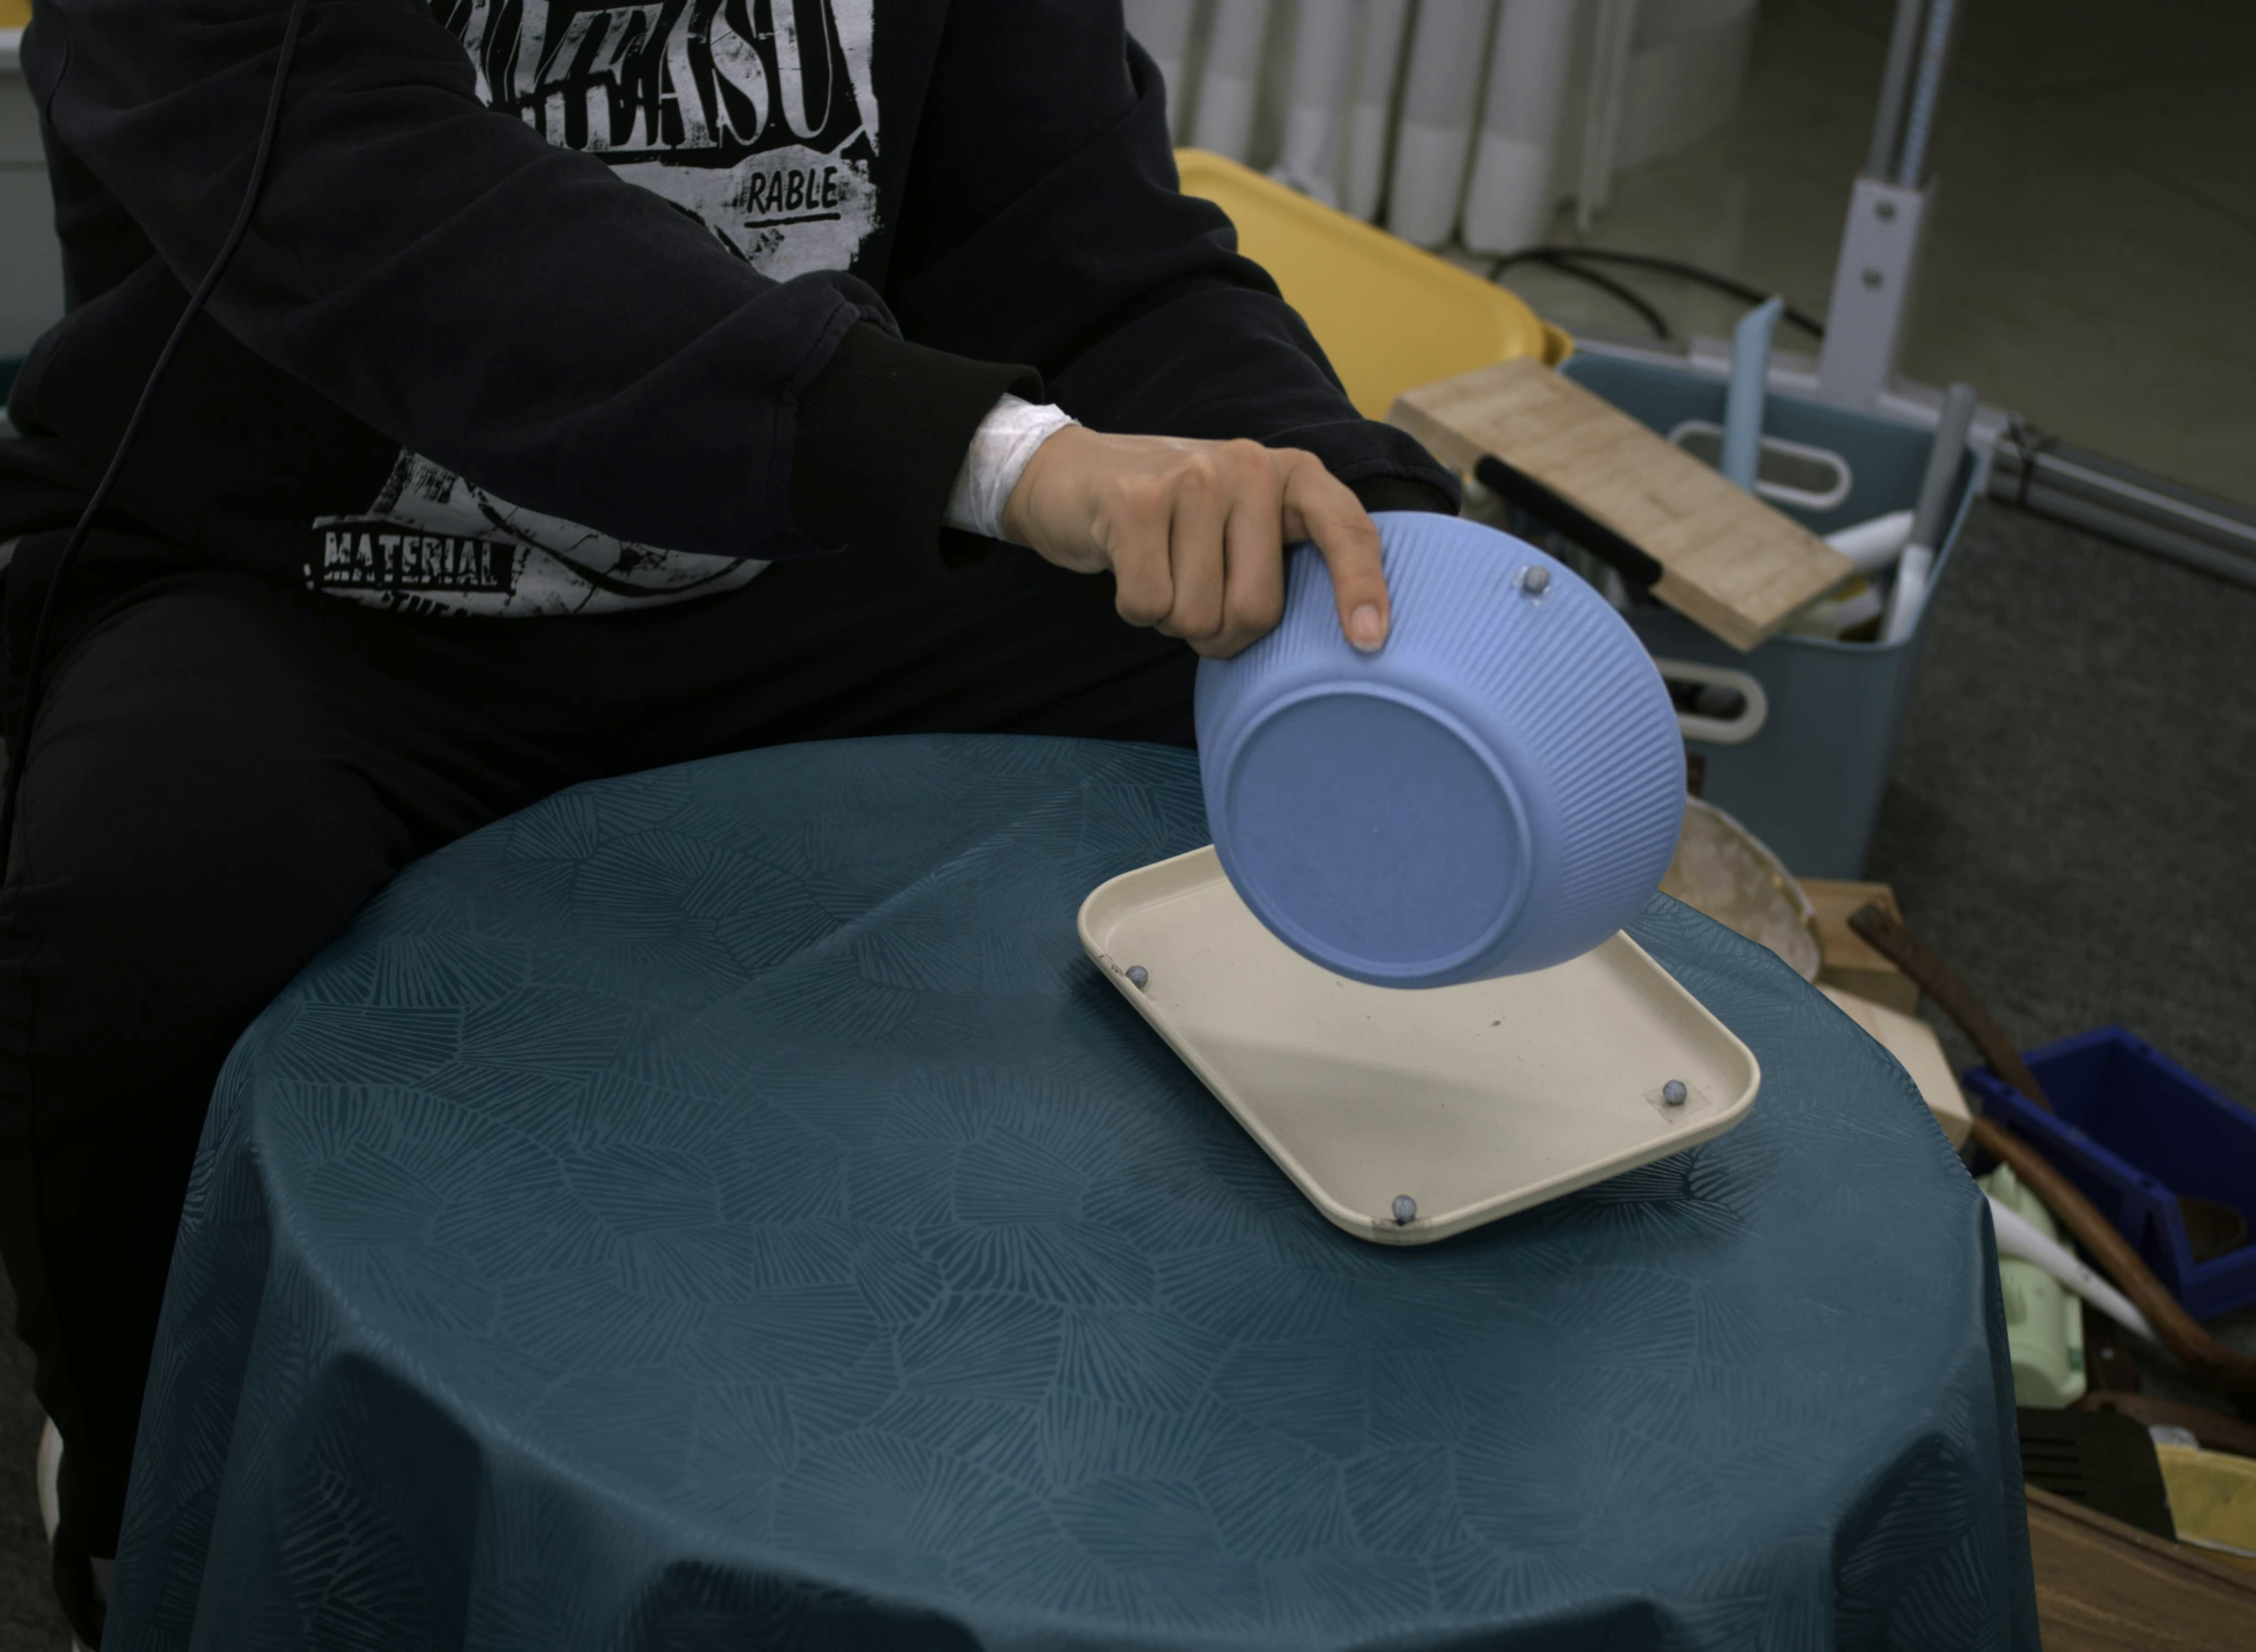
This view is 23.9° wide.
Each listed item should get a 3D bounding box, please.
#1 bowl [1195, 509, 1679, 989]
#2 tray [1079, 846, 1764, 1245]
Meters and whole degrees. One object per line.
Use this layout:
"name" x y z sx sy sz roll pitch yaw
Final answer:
"bowl" 0.091 -0.013 1.779 0.176 0.175 0.070 17 31 19
"tray" 0.101 0.065 1.884 0.170 0.017 0.242 -18 36 -21
